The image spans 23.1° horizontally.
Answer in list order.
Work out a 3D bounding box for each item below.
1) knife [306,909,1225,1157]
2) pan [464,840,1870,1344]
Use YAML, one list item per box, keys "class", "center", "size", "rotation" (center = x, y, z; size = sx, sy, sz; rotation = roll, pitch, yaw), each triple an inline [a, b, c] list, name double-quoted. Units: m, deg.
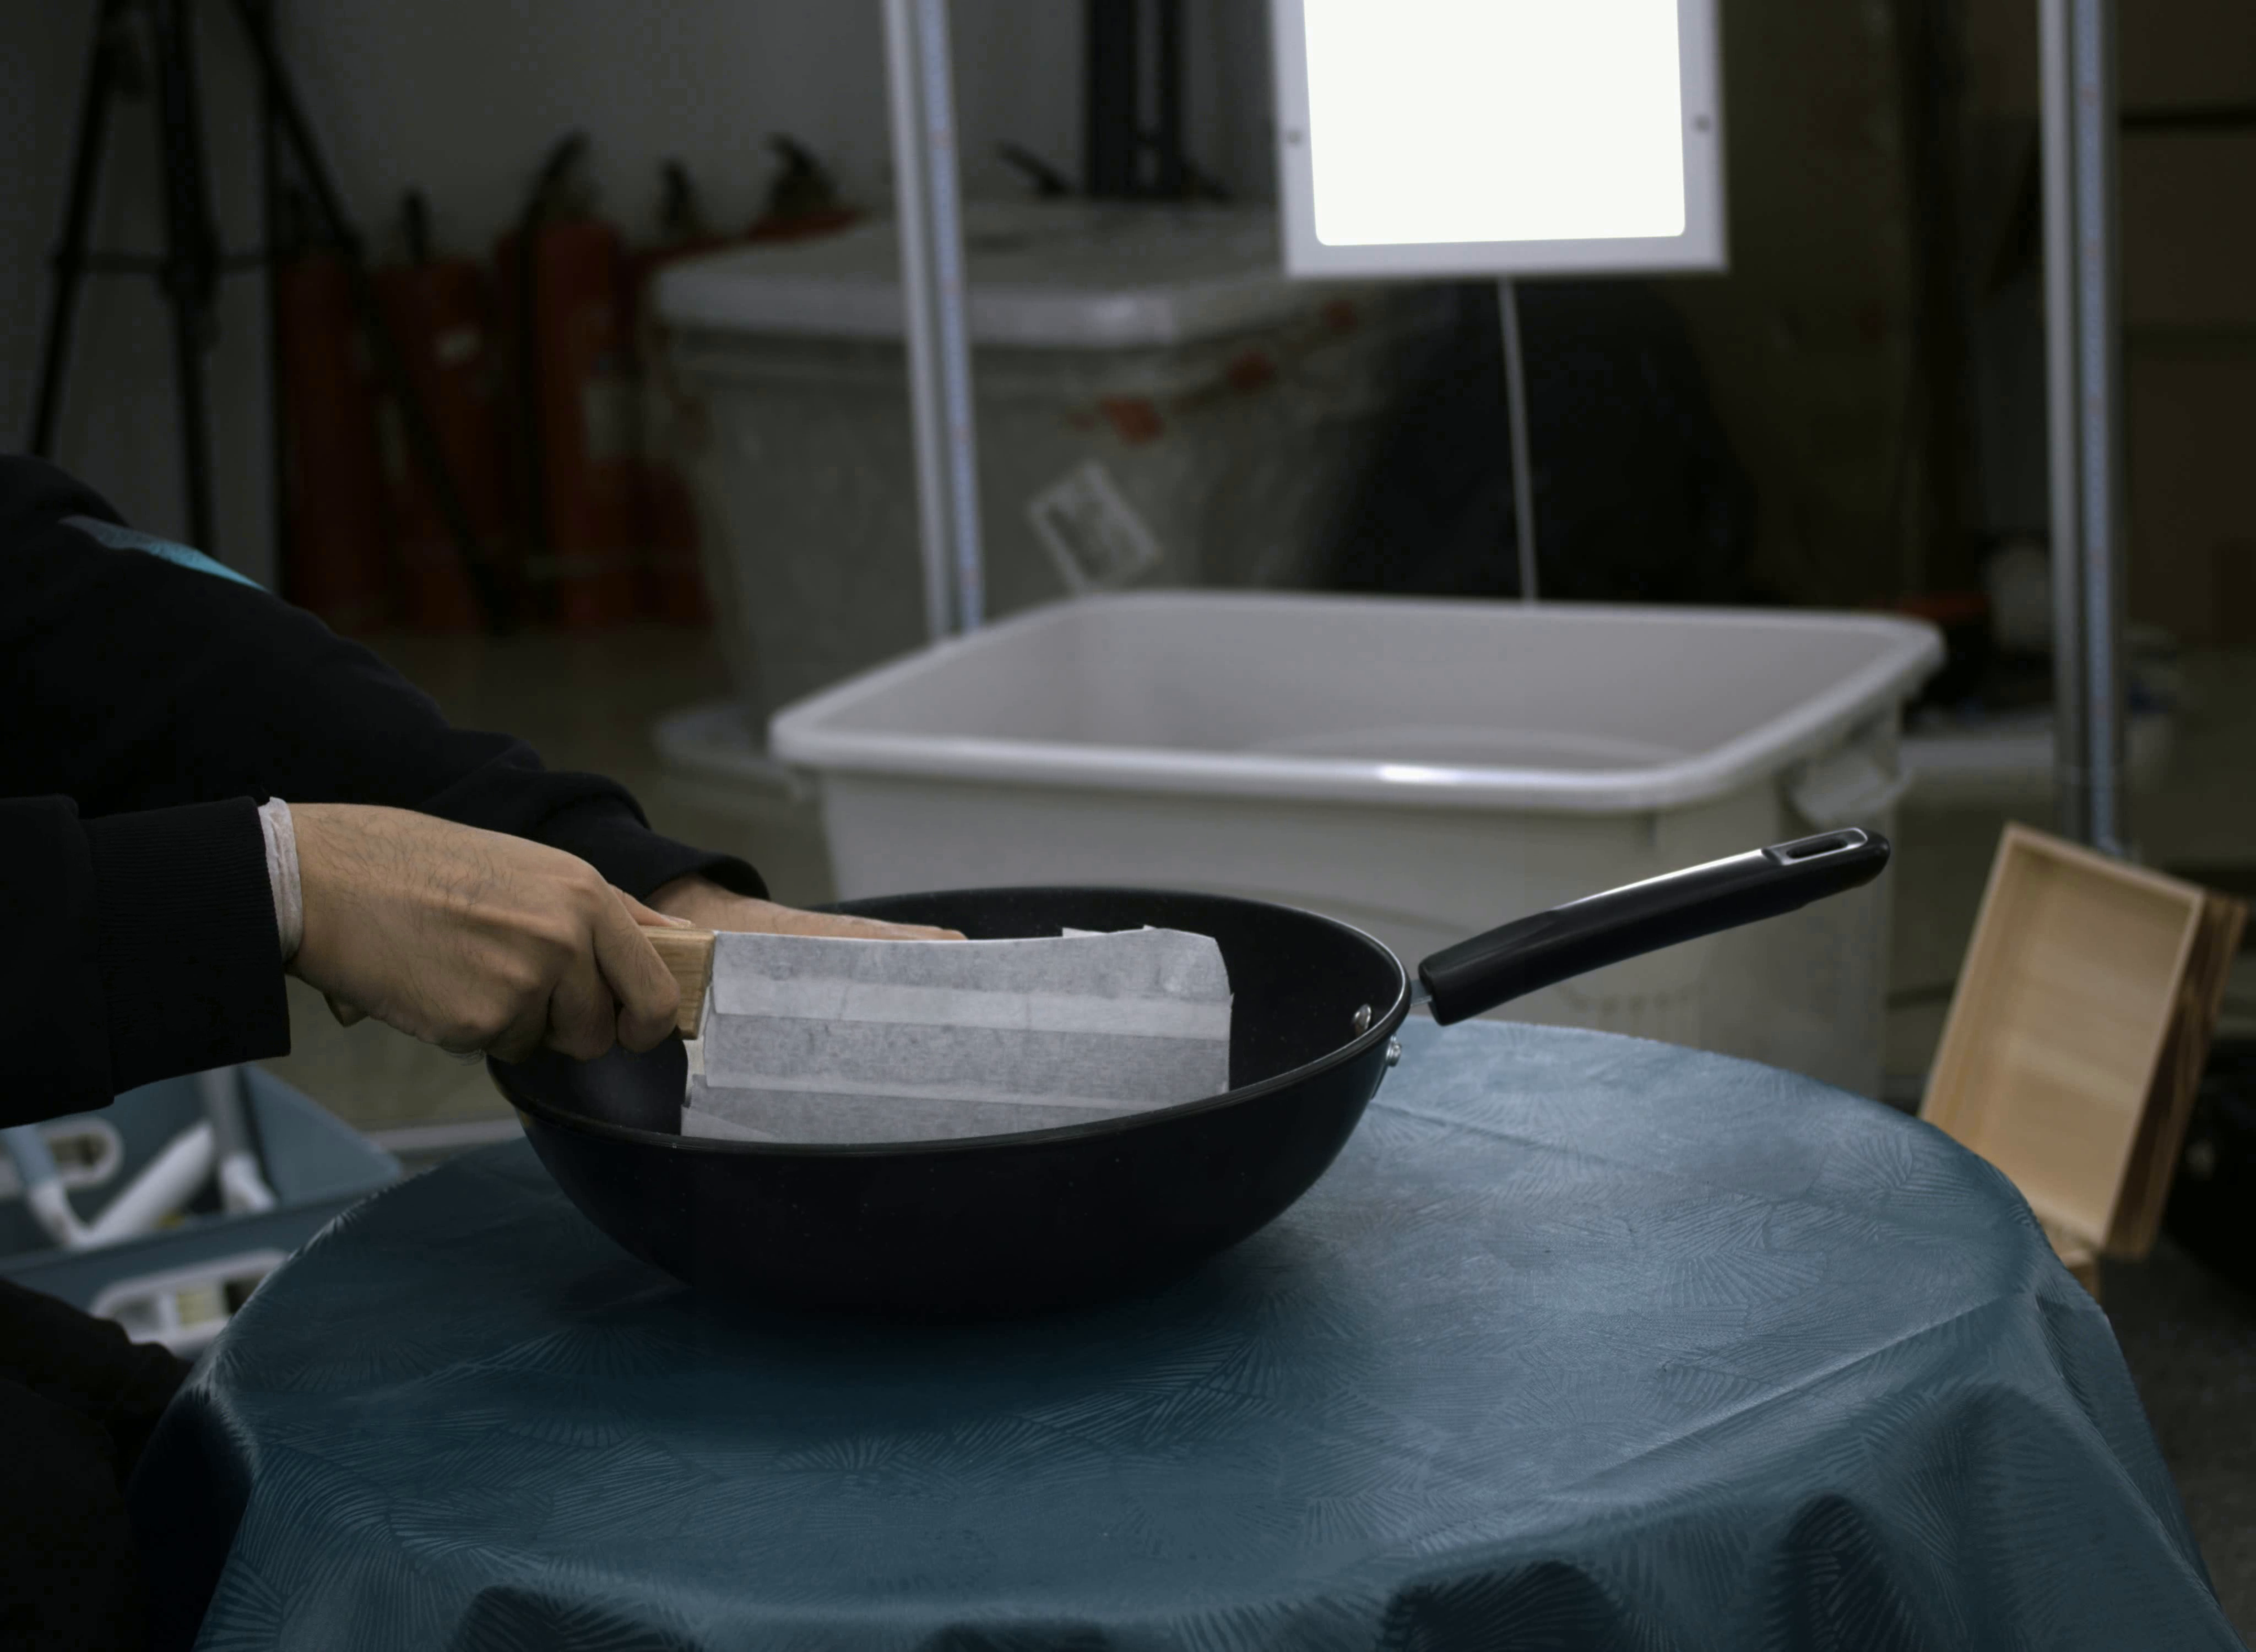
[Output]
- class: "knife"
  center: [-0.114, 0.069, 1.820]
  size: [0.313, 0.114, 0.022]
  rotation: [7, 1, -4]
- class: "pan"
  center: [0.018, 0.084, 1.843]
  size: [0.474, 0.112, 0.311]
  rotation: [-6, 16, -4]
